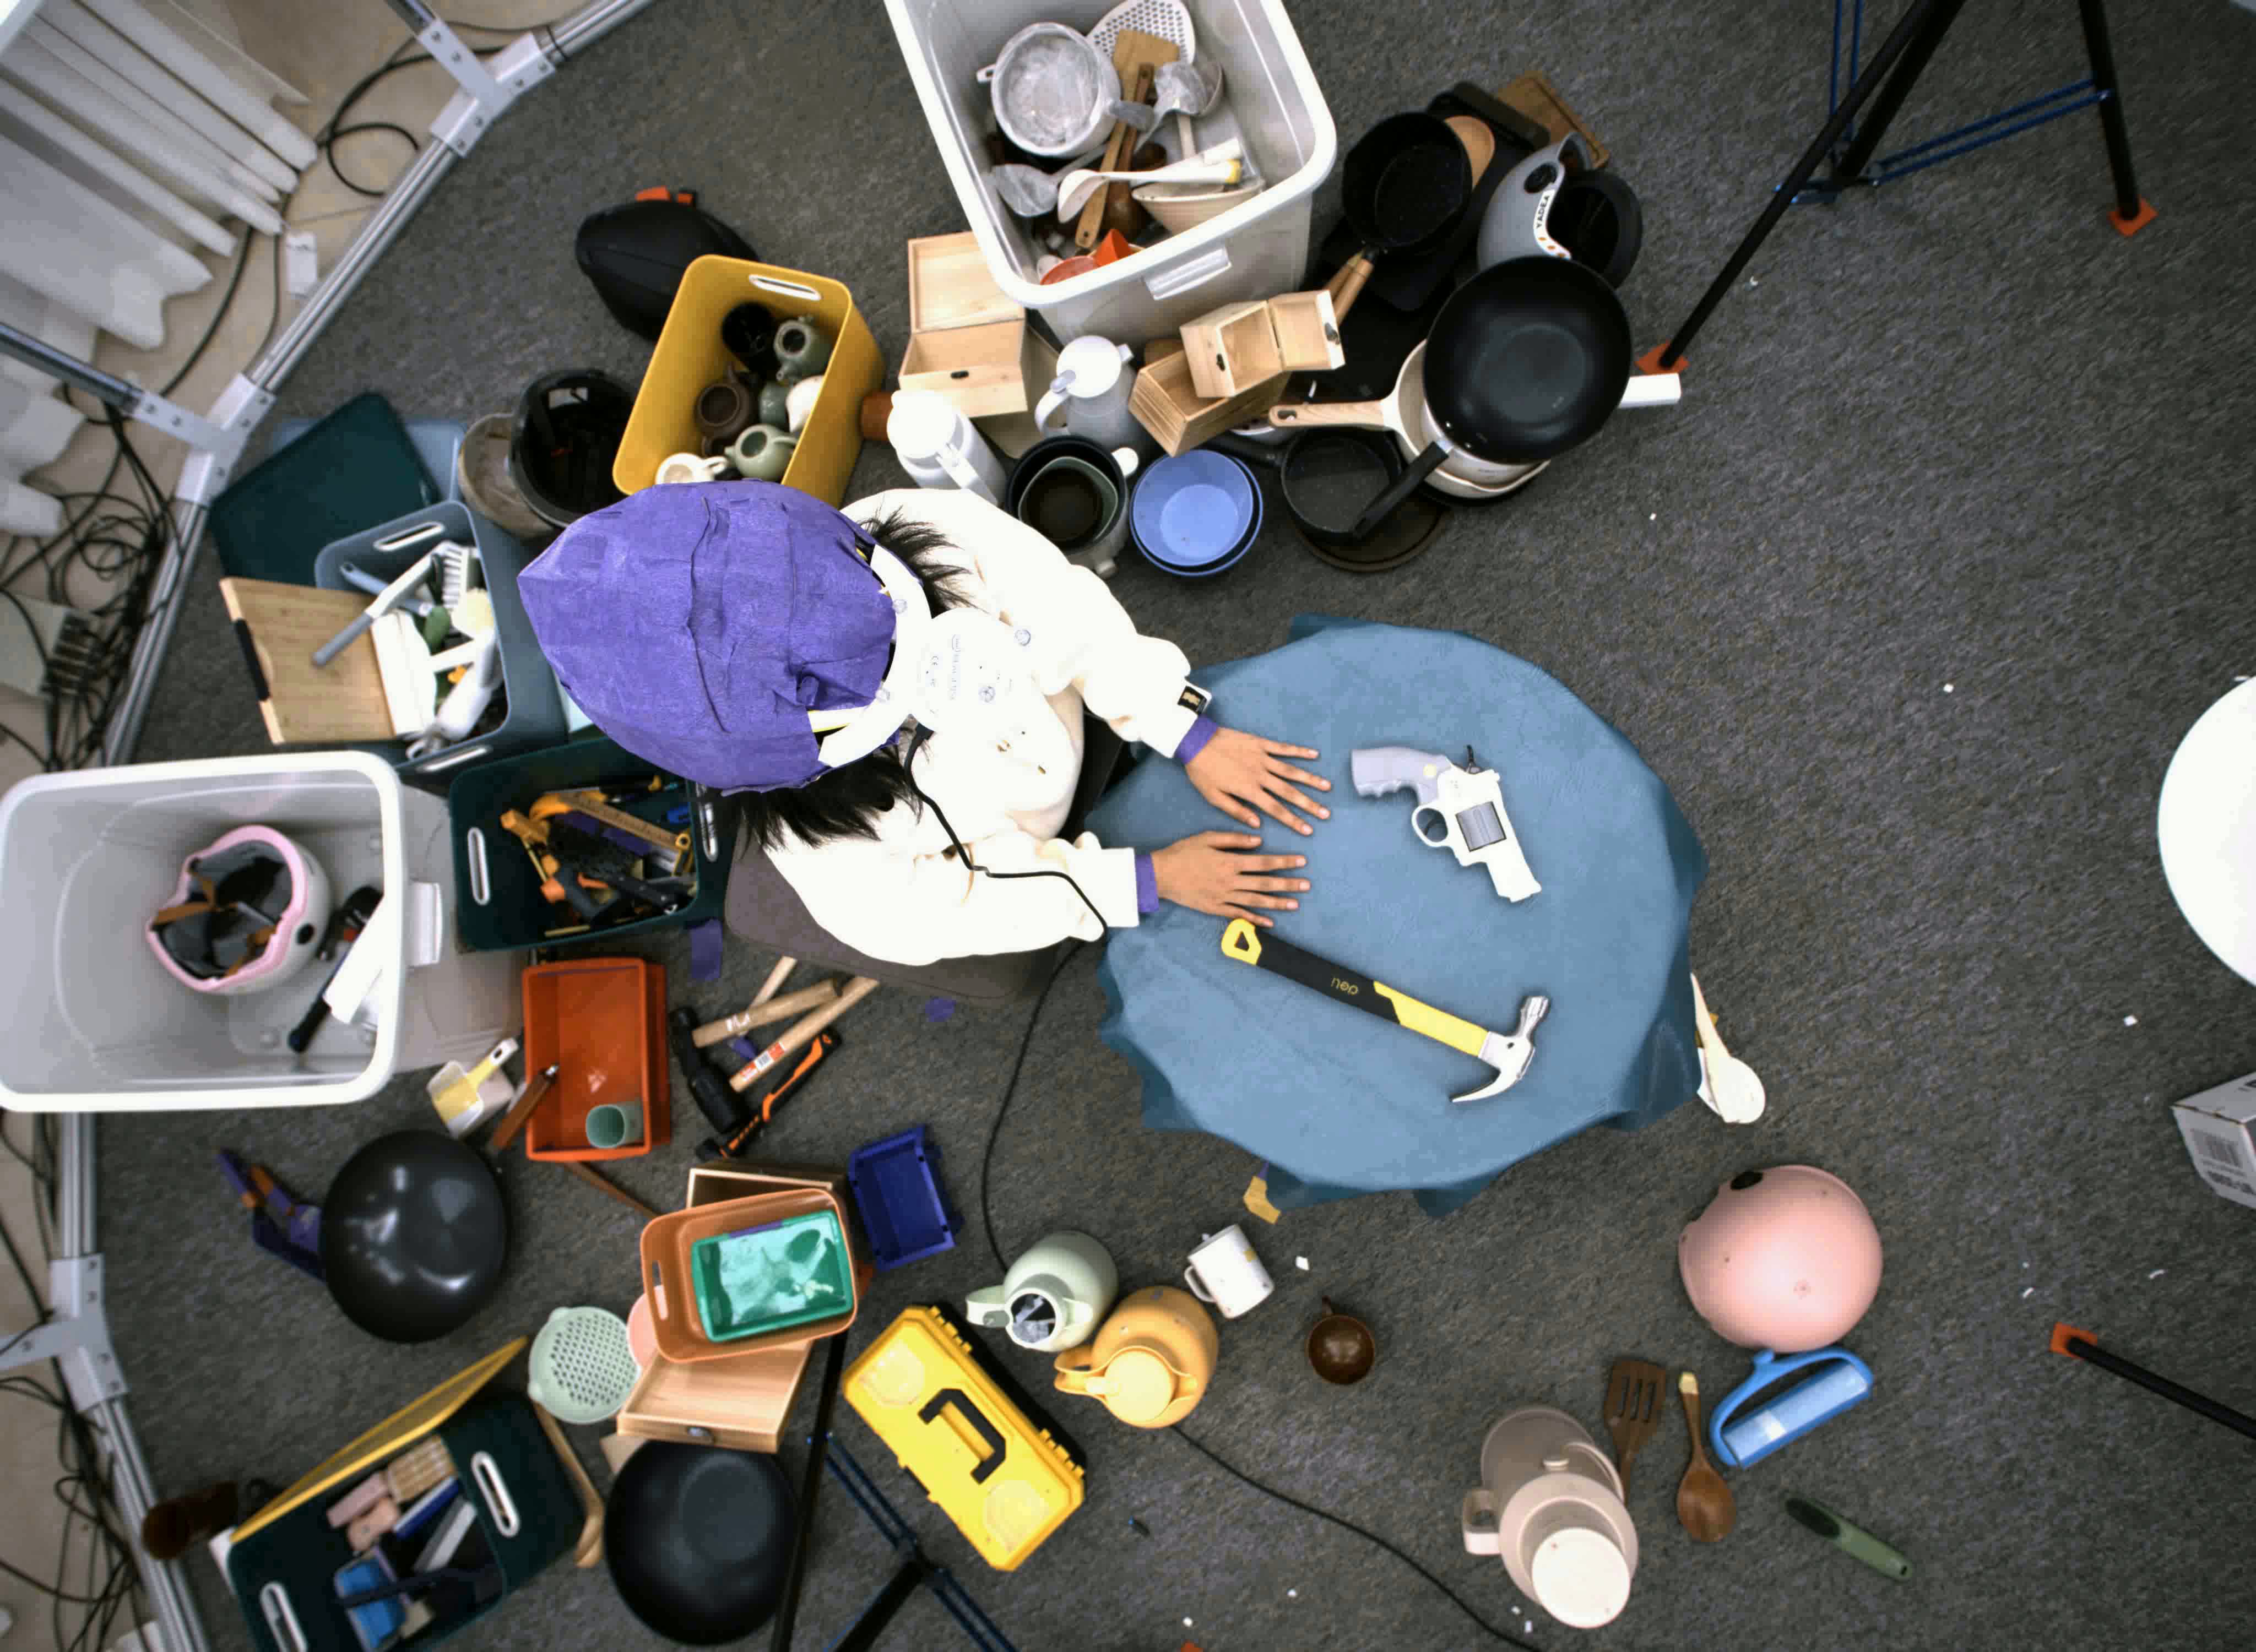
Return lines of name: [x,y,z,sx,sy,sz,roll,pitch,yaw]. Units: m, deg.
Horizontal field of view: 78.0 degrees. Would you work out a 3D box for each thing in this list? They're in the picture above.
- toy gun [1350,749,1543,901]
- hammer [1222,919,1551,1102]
toy gun: [0.328,-0.005,1.434,0.142,0.039,0.208,-23,83,7]
hammer: [0.256,0.177,1.439,0.338,0.032,0.131,23,93,10]
